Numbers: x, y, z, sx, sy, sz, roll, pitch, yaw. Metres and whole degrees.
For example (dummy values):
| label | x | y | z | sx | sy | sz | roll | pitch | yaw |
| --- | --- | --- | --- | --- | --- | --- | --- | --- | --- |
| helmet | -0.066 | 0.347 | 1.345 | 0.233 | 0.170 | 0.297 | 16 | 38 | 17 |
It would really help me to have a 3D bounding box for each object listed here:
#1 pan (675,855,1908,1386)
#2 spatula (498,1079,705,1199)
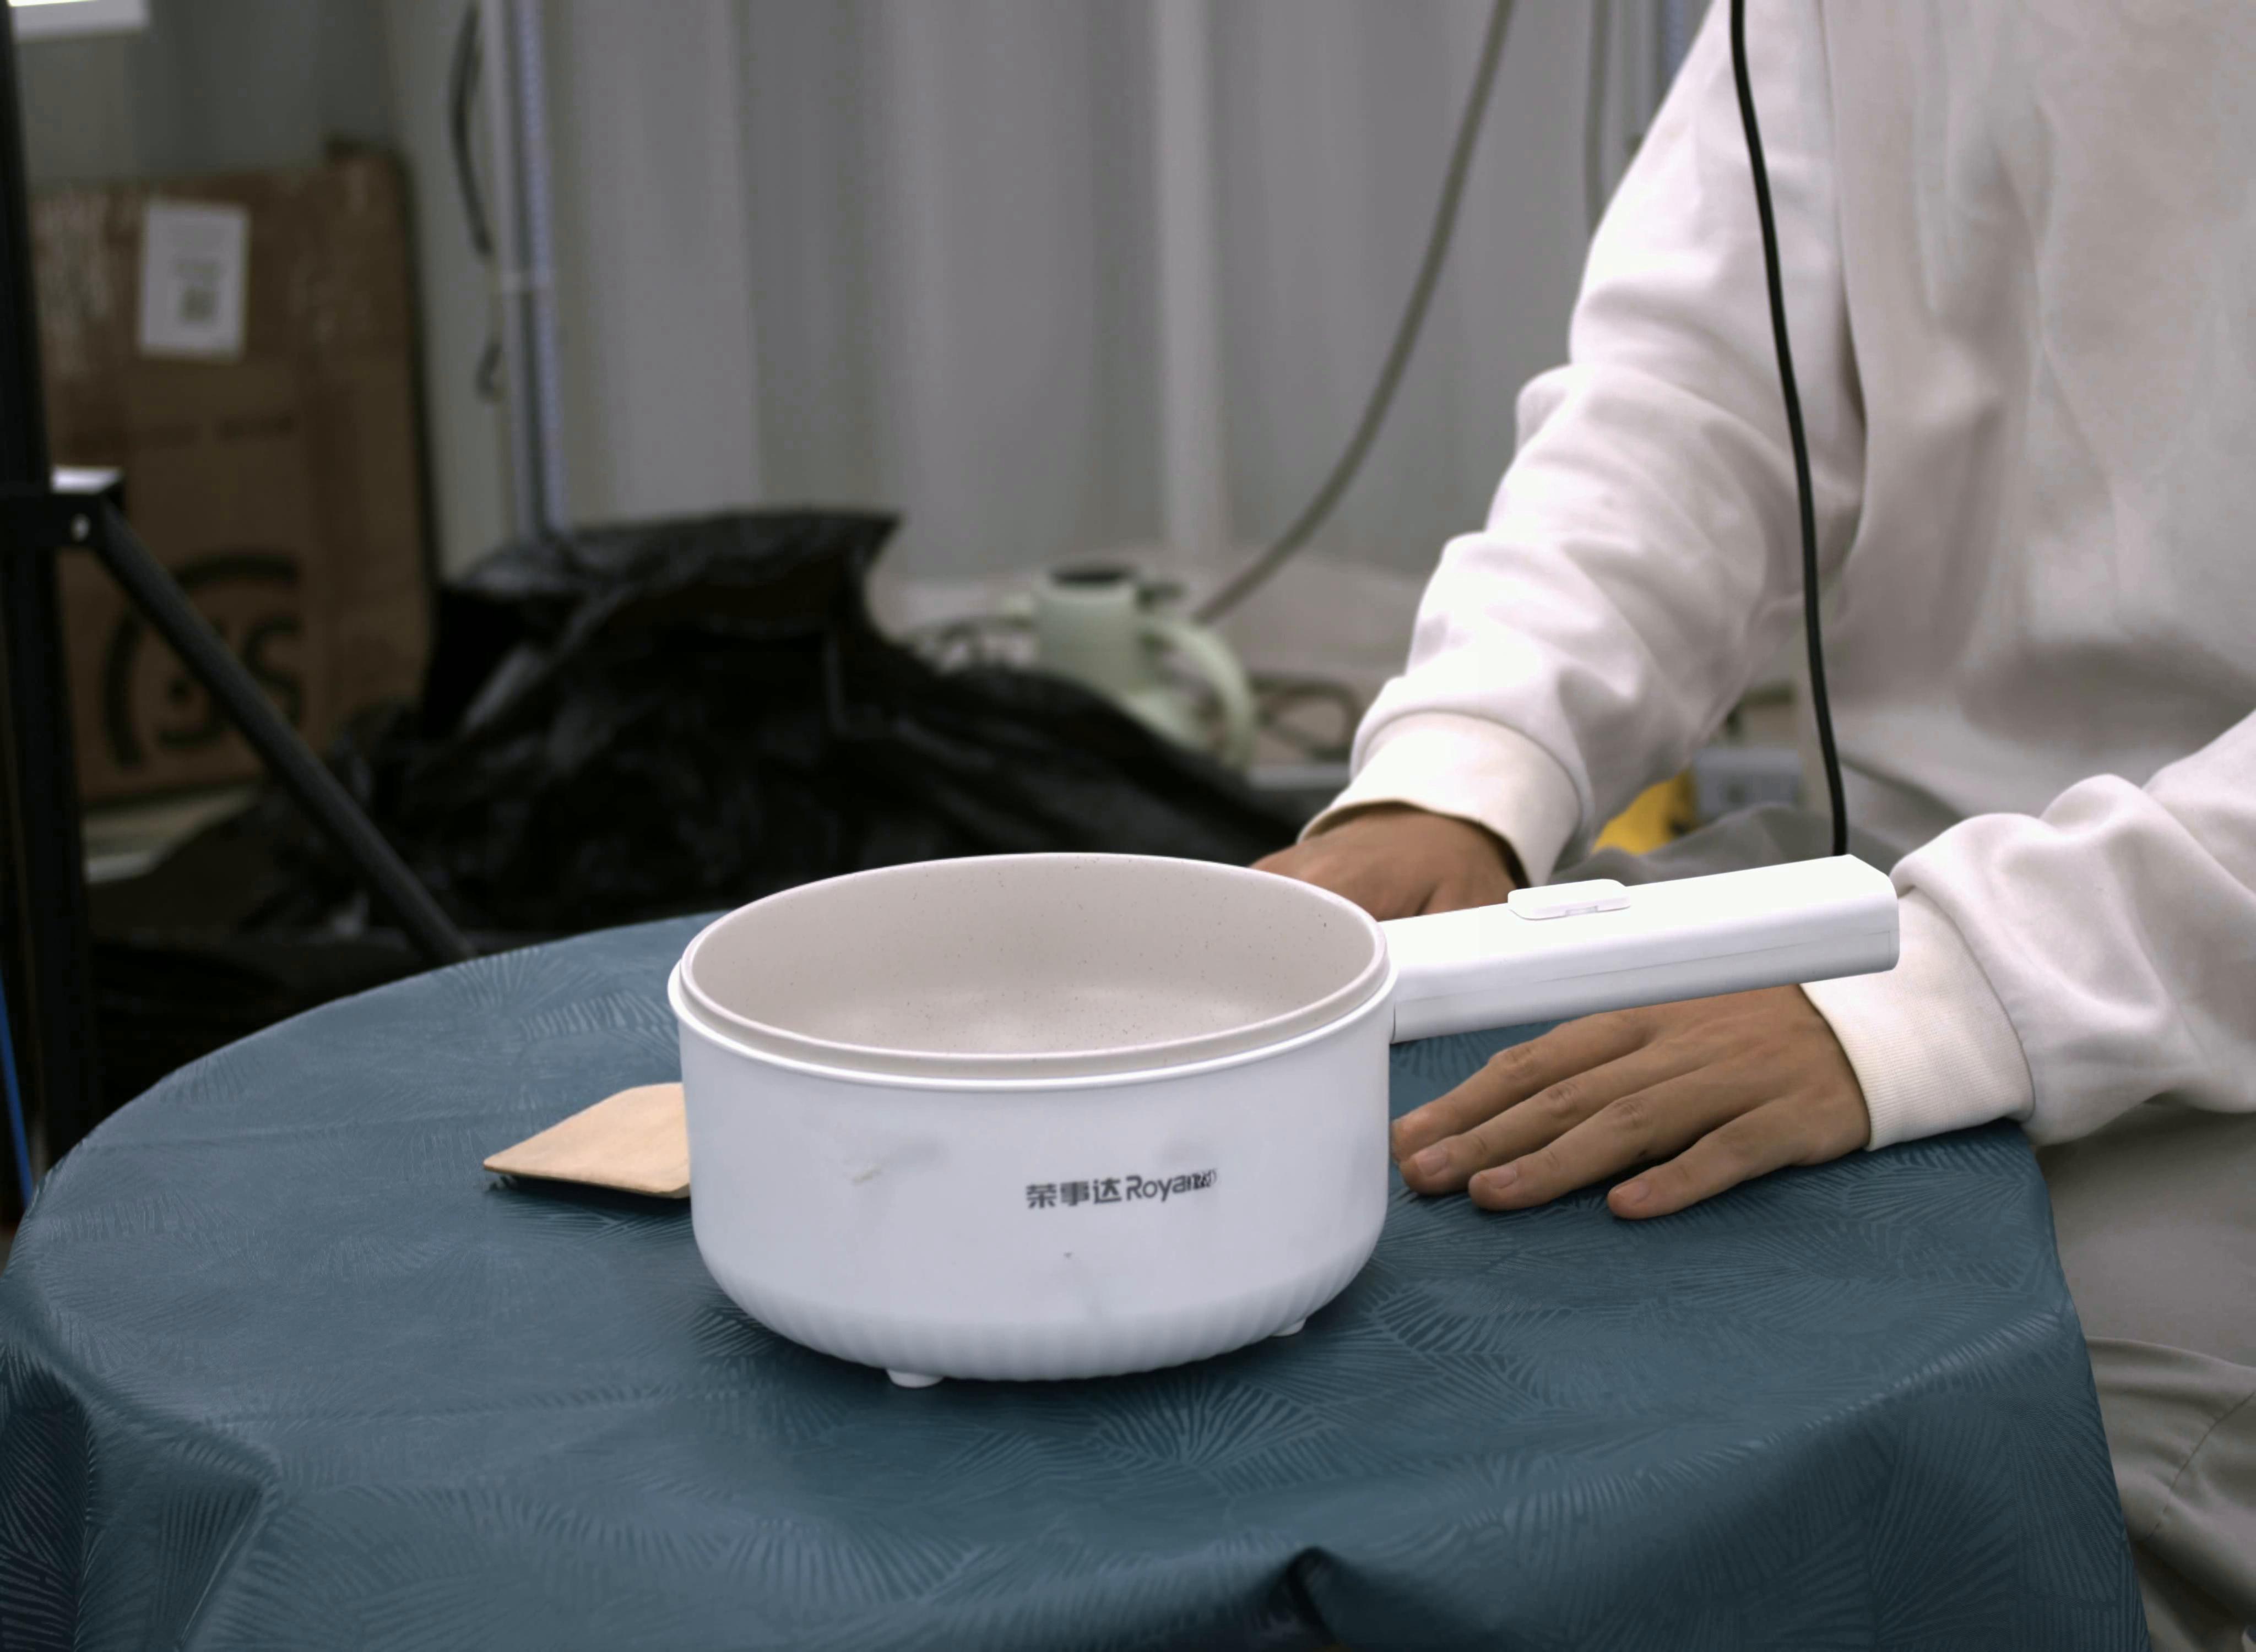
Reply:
| label | x | y | z | sx | sy | sz | roll | pitch | yaw |
| --- | --- | --- | --- | --- | --- | --- | --- | --- | --- |
| pan | 0.049 | 0.075 | 1.489 | 0.349 | 0.102 | 0.204 | -6 | 15 | -15 |
| spatula | -0.094 | 0.070 | 1.694 | 0.073 | 0.010 | 0.288 | 5 | 17 | 28 |
